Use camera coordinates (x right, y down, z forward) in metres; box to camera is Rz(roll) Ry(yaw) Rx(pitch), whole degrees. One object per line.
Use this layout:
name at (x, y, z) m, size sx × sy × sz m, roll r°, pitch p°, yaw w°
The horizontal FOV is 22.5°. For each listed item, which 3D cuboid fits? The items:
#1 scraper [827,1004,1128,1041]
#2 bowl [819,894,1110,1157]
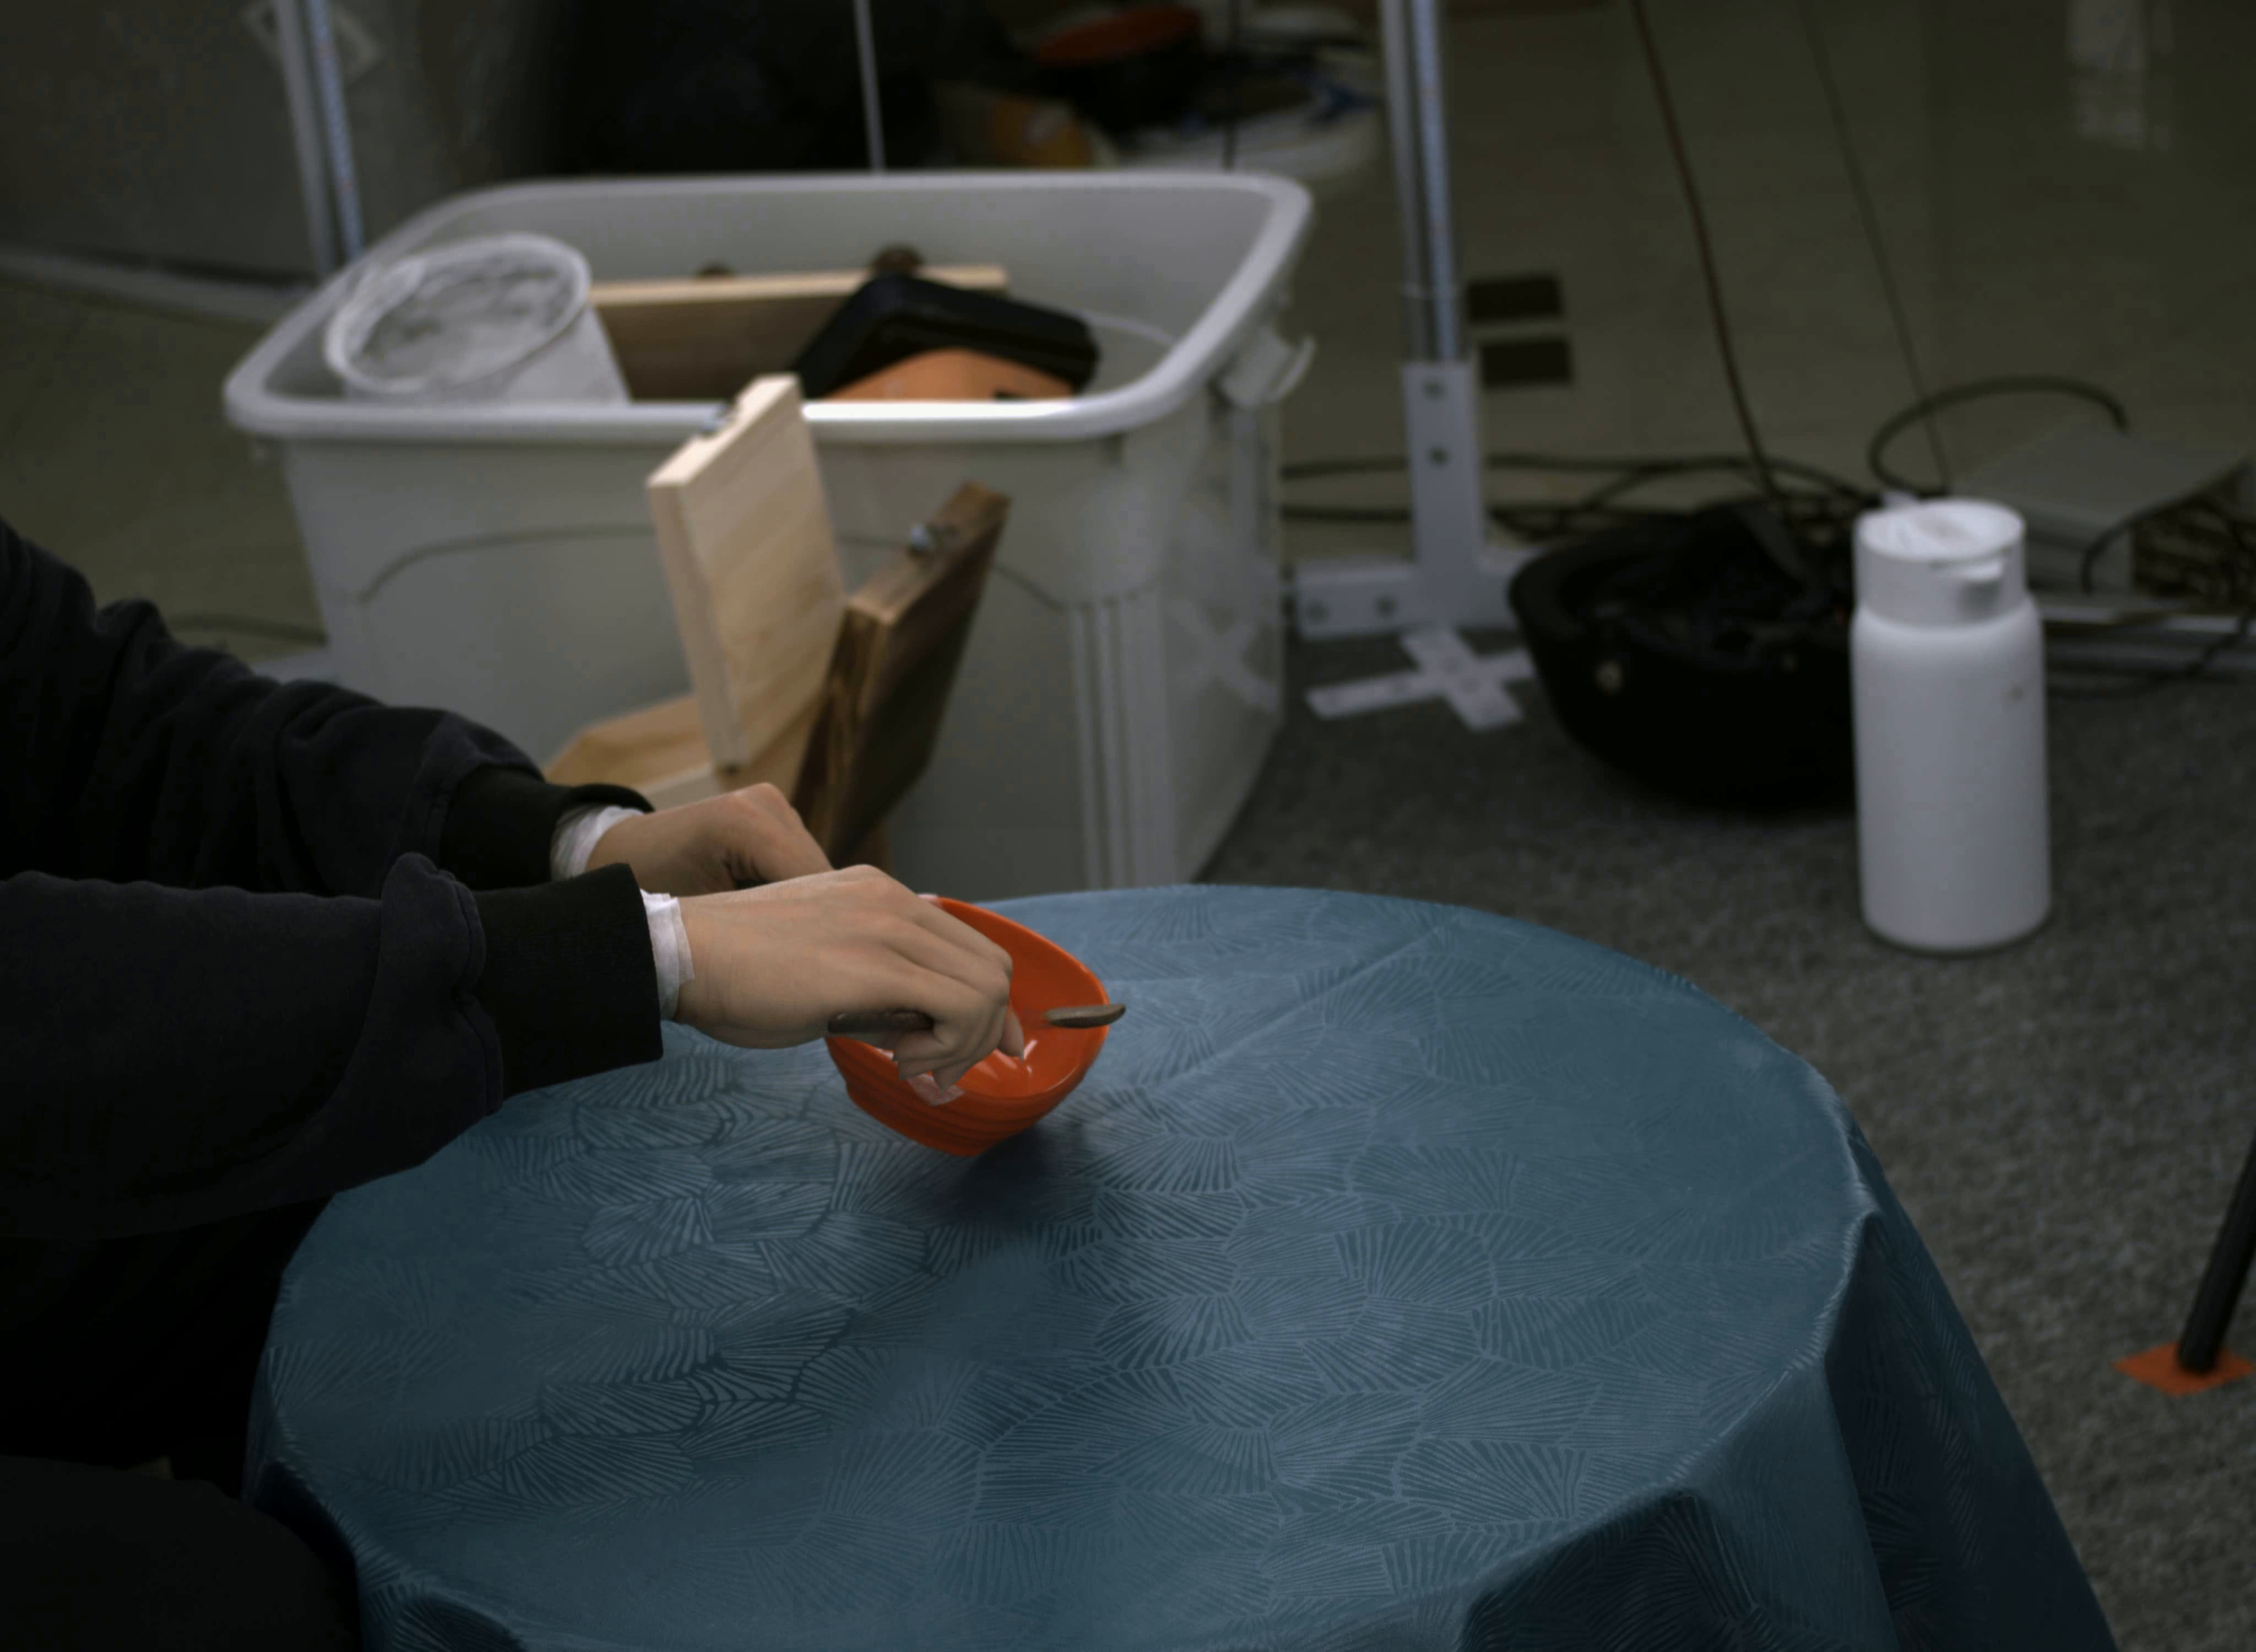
scraper at (-0.063, 0.073, 2.071) m, size 0.076 × 0.011 × 0.211 m, roll -5°, pitch -3°, yaw 17°
bowl at (-0.069, 0.084, 2.197) m, size 0.119 × 0.052 × 0.117 m, roll 14°, pitch 37°, yaw -11°
